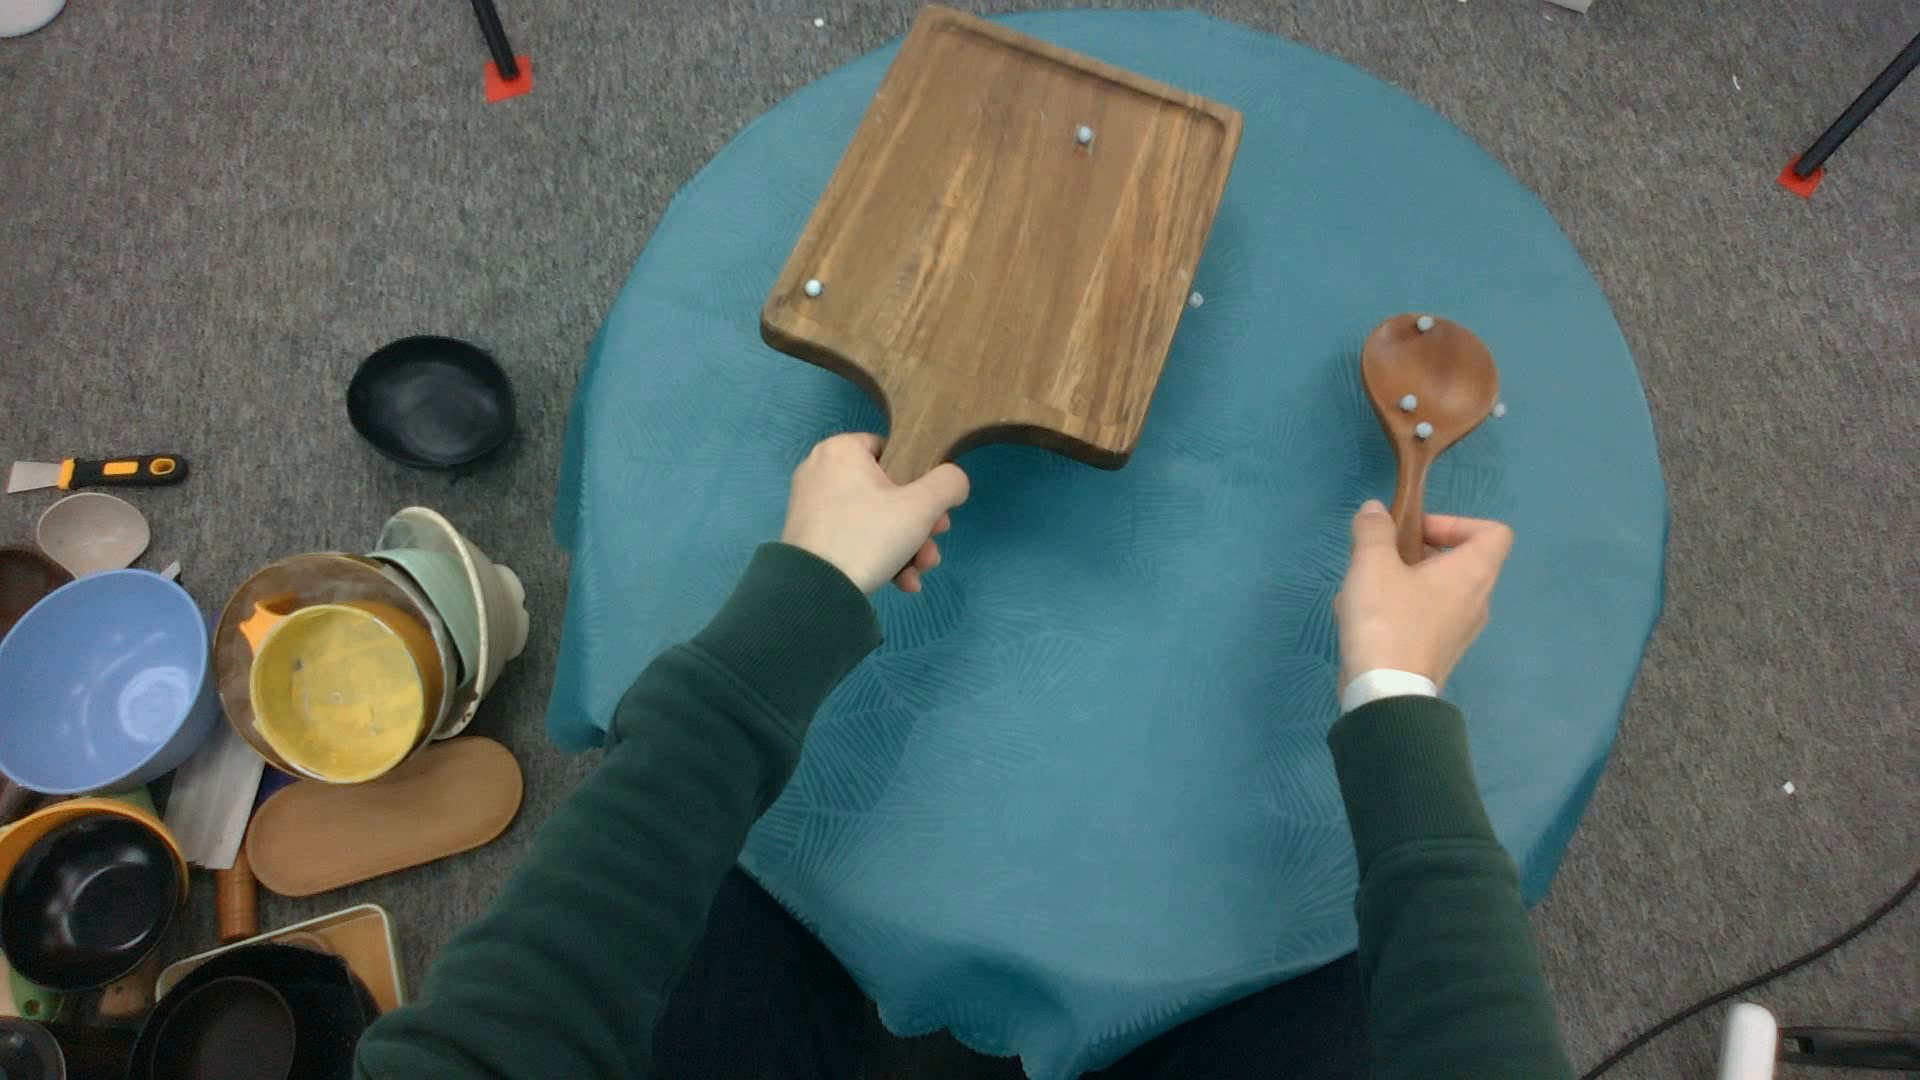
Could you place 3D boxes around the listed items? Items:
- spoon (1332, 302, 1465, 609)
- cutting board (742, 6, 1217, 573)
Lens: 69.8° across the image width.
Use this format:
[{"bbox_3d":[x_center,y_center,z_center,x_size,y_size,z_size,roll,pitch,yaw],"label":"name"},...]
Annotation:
[{"bbox_3d":[0.218,-0.049,0.705,0.075,0.017,0.217,19,50,2],"label":"spoon"},{"bbox_3d":[0.005,-0.134,0.712,0.201,0.023,0.354,19,60,2],"label":"cutting board"}]
